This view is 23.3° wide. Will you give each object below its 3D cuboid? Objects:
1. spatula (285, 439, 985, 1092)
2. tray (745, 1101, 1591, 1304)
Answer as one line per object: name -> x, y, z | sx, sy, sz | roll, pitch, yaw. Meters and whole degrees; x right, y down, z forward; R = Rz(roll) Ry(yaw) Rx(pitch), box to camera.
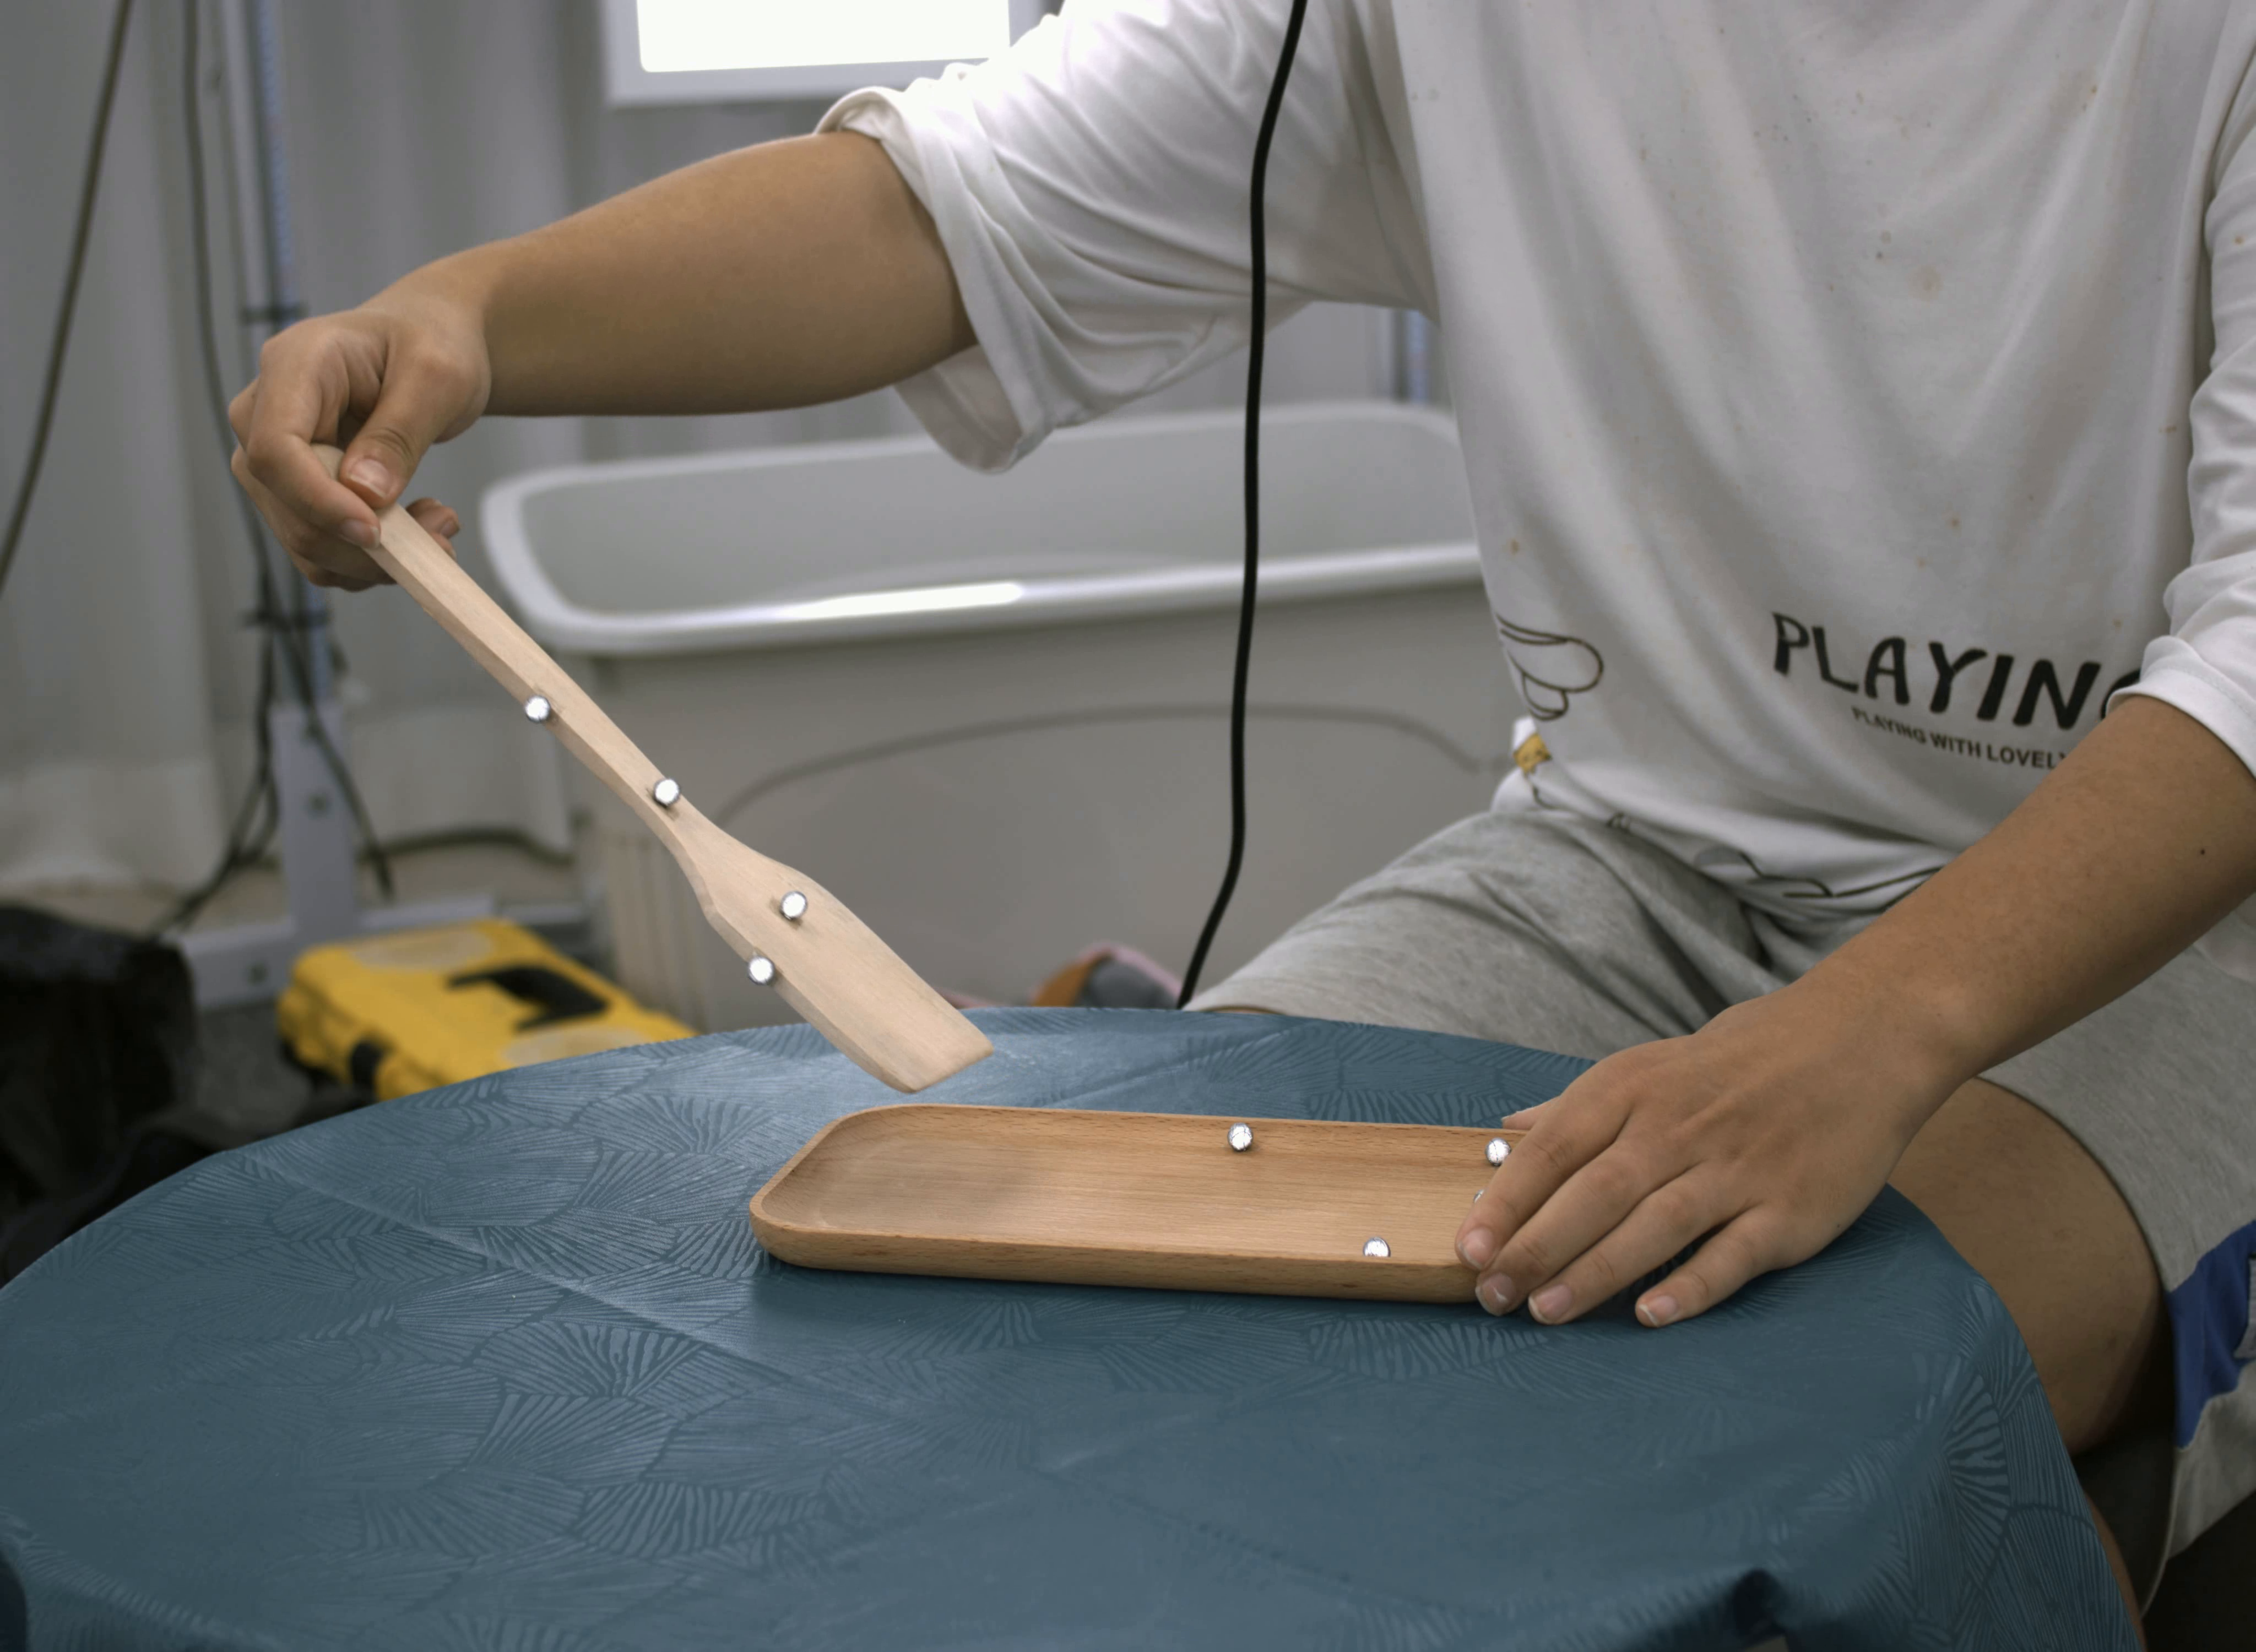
spatula -> -0.161, -0.021, 1.719 | 0.294, 0.010, 0.072 | 44, 22, 11
tray -> 0.013, 0.115, 1.685 | 0.250, 0.023, 0.131 | 1, 13, 17
